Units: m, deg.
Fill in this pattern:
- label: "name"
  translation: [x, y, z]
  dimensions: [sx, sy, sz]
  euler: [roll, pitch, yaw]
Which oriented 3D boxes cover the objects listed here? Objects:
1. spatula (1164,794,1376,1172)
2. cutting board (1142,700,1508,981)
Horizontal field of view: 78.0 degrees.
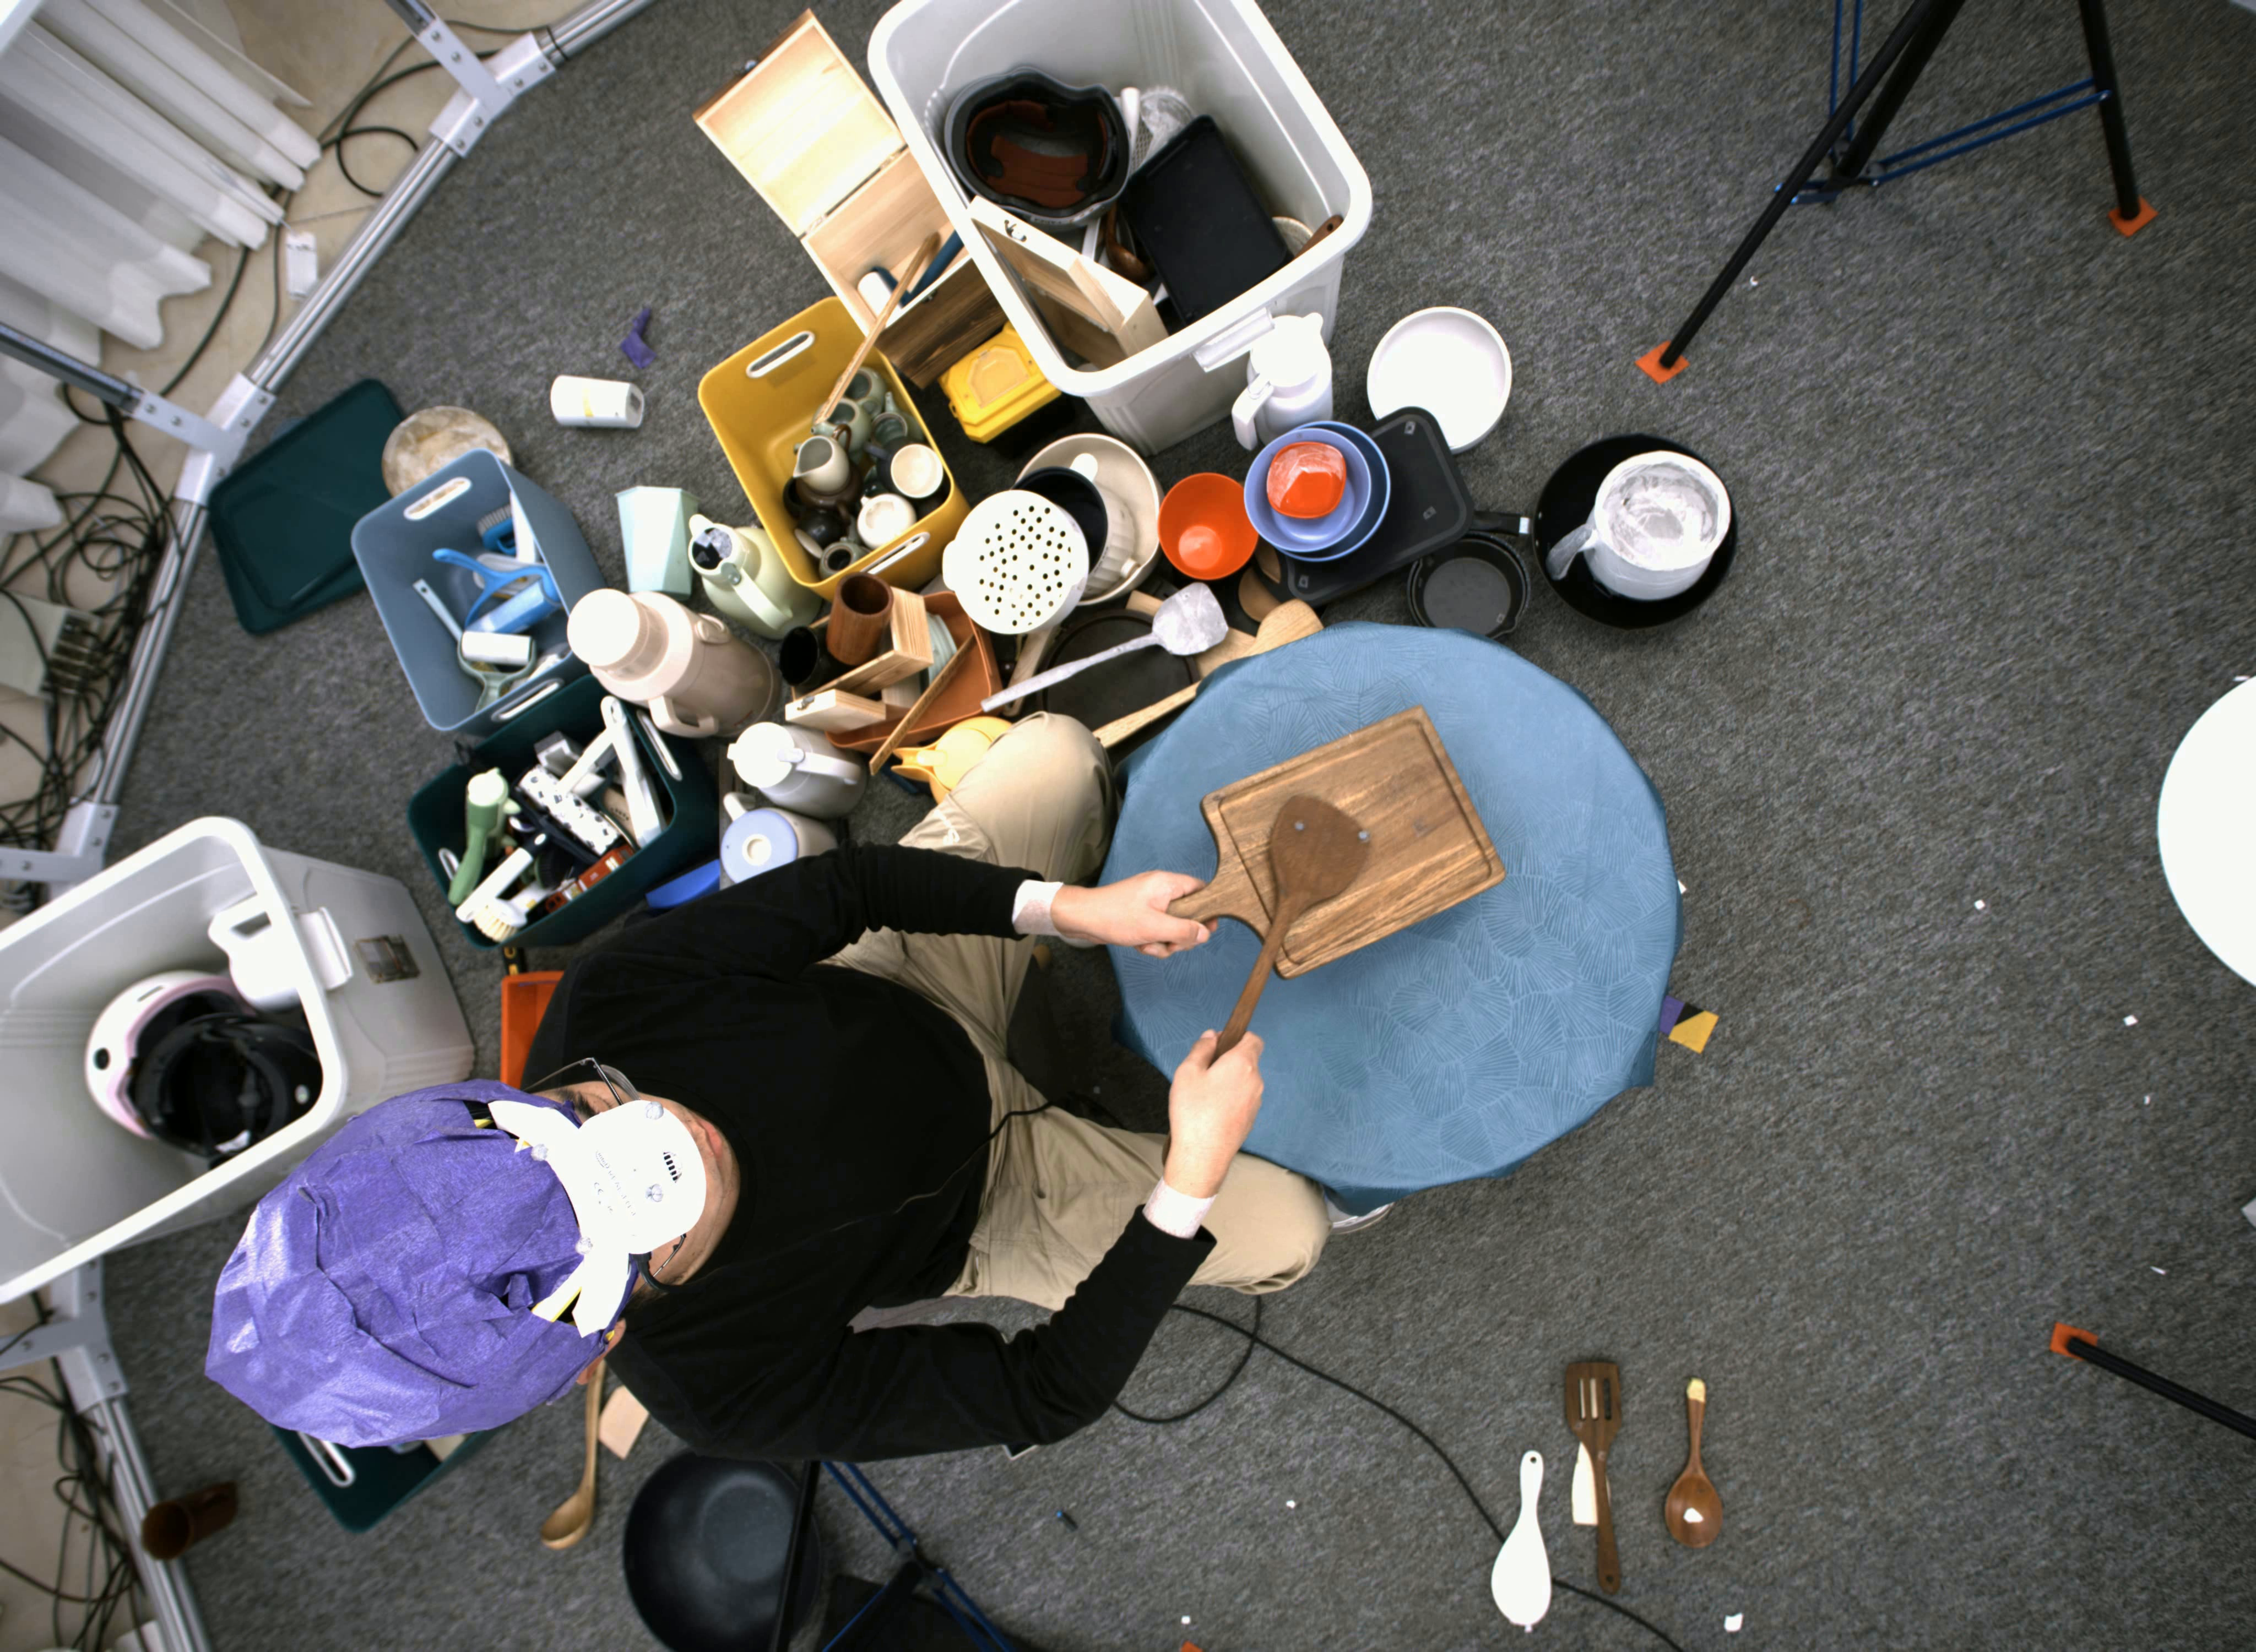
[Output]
- label: "spatula"
  translation: [0.123, 0.141, 1.278]
  dimensions: [0.096, 0.016, 0.379]
  euler: [29, 72, -4]
- label: "cutting board"
  translation: [0.173, 0.030, 1.334]
  dimensions: [0.351, 0.023, 0.200]
  euler: [-24, 83, -6]
